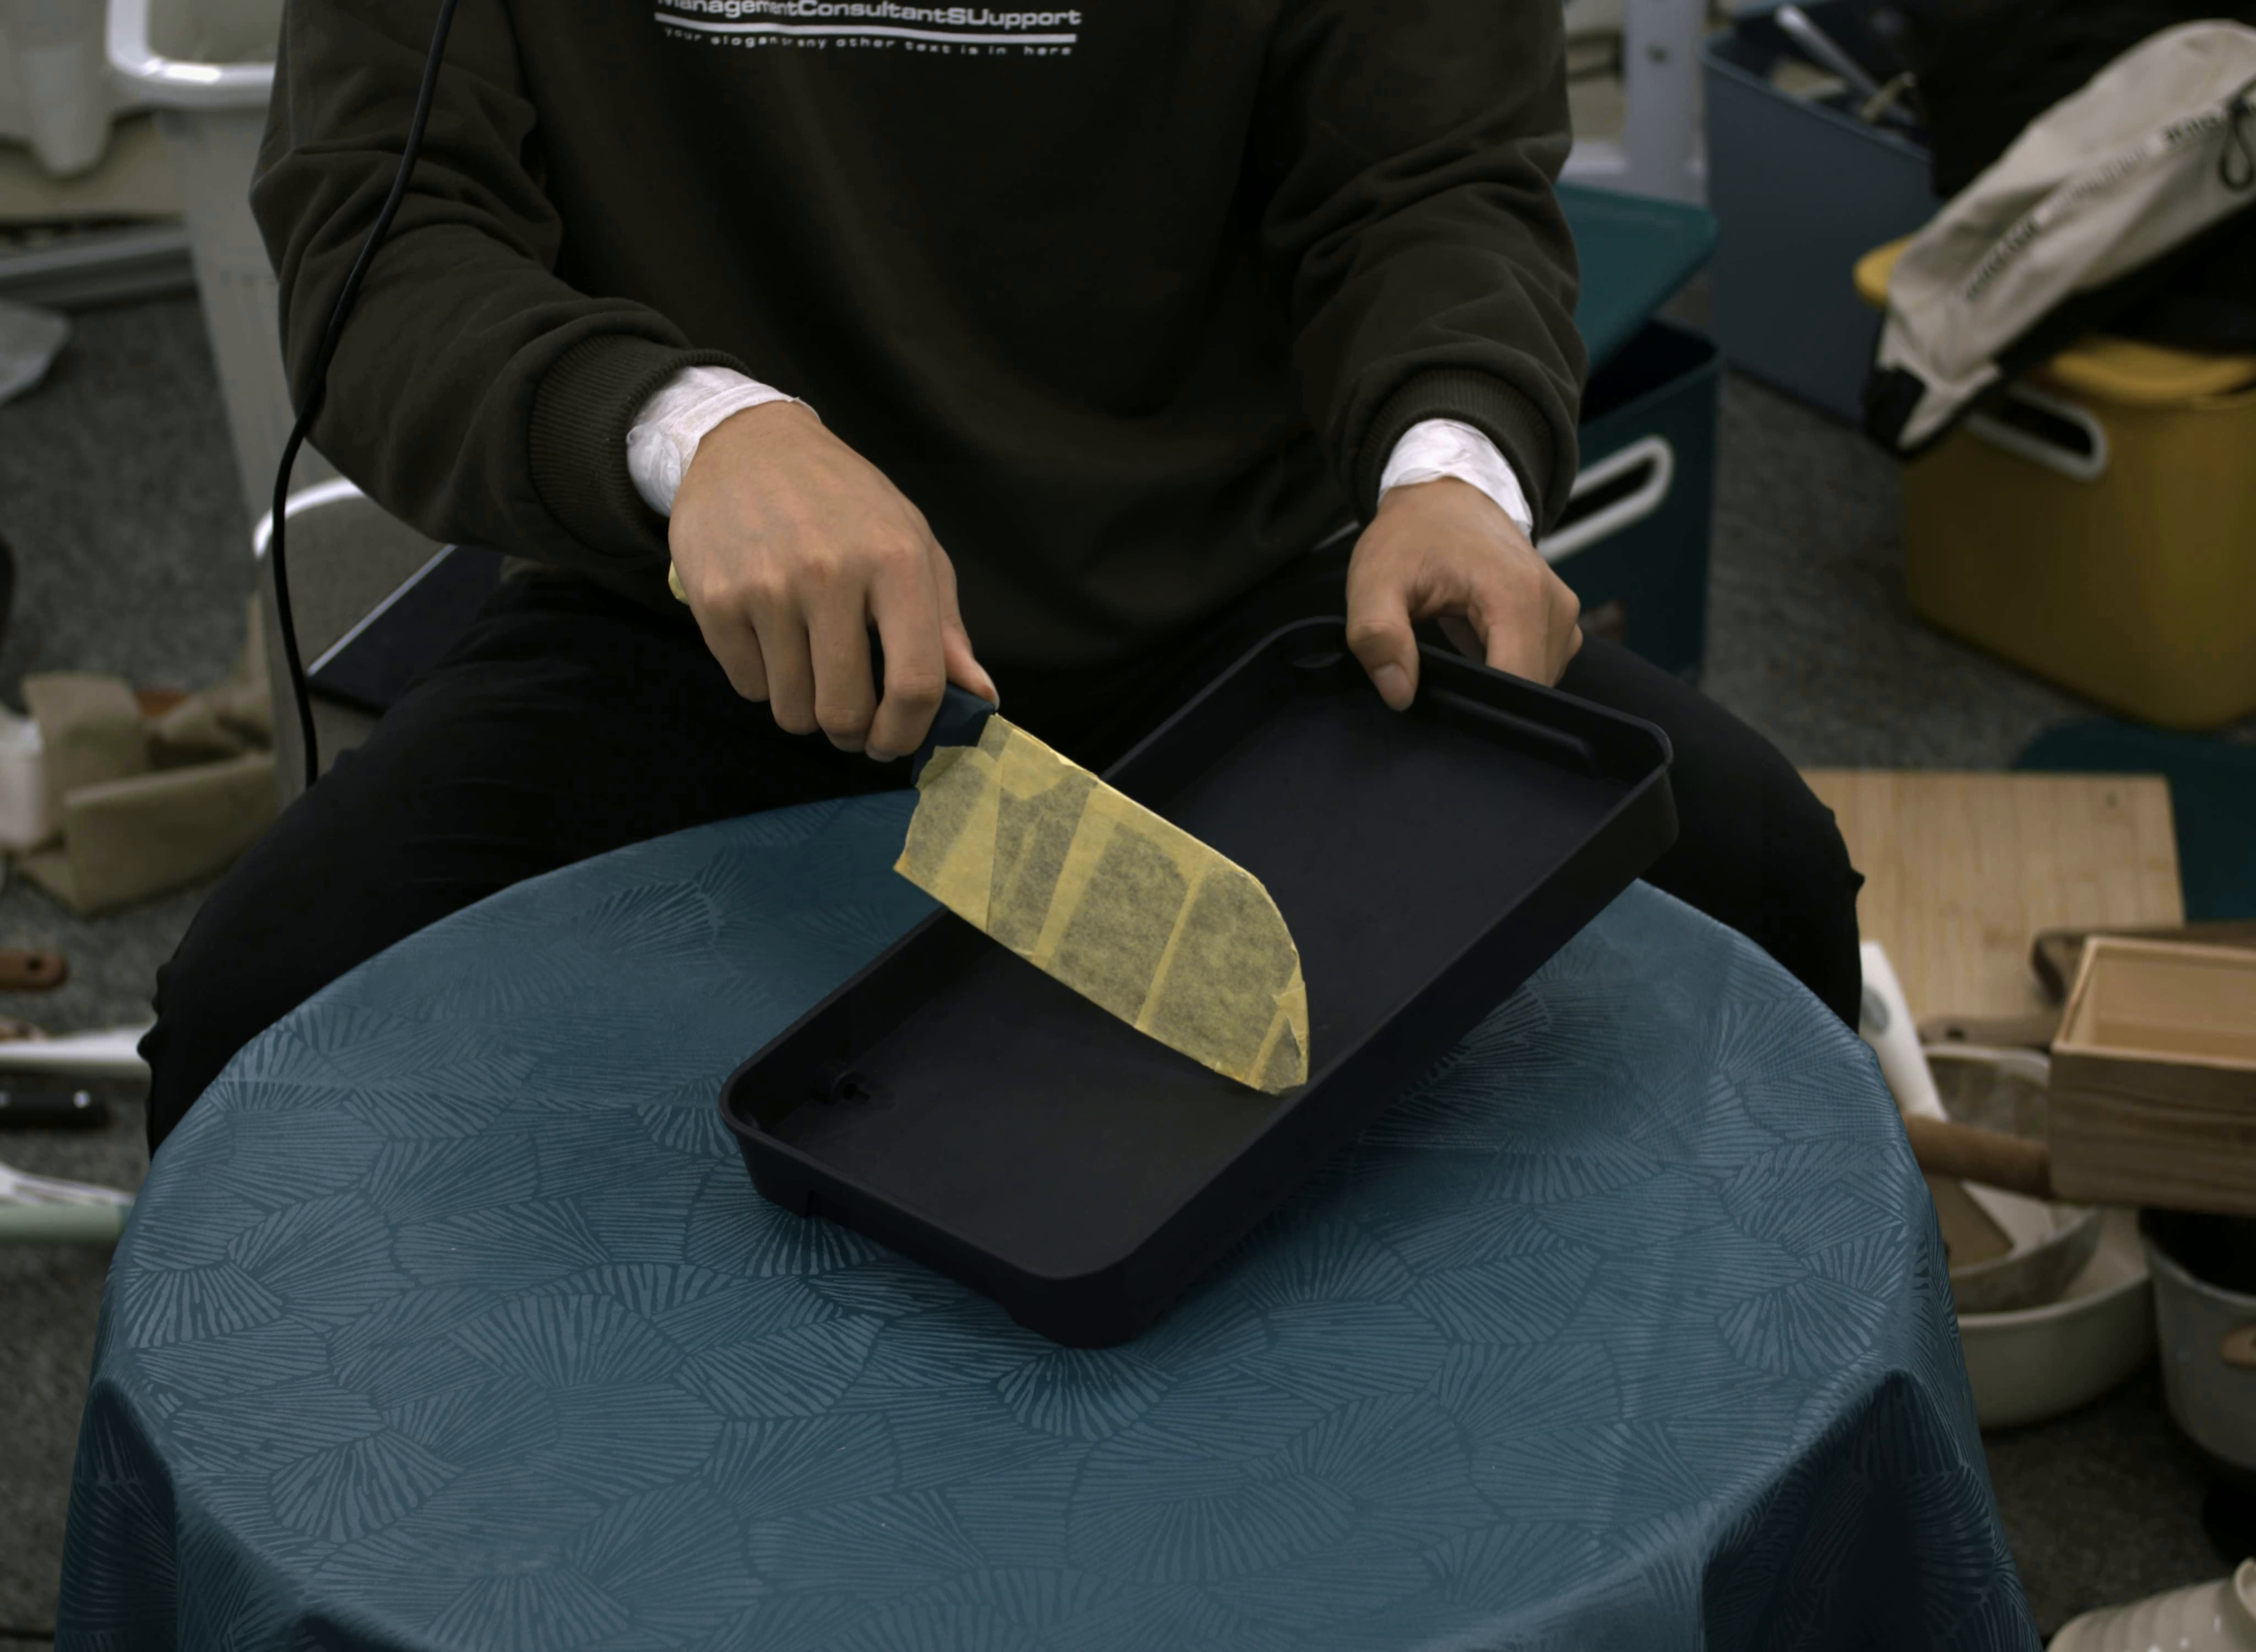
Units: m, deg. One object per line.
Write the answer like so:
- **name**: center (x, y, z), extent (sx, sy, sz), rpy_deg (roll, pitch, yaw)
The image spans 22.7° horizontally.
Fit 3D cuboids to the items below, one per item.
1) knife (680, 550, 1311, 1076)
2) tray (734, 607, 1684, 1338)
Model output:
- **knife**: center (-0.048, -0.005, 1.898), extent (0.290, 0.080, 0.027), rpy_deg (36, 23, 24)
- **tray**: center (0.031, 0.042, 1.899), extent (0.183, 0.036, 0.323), rpy_deg (18, 47, 39)
